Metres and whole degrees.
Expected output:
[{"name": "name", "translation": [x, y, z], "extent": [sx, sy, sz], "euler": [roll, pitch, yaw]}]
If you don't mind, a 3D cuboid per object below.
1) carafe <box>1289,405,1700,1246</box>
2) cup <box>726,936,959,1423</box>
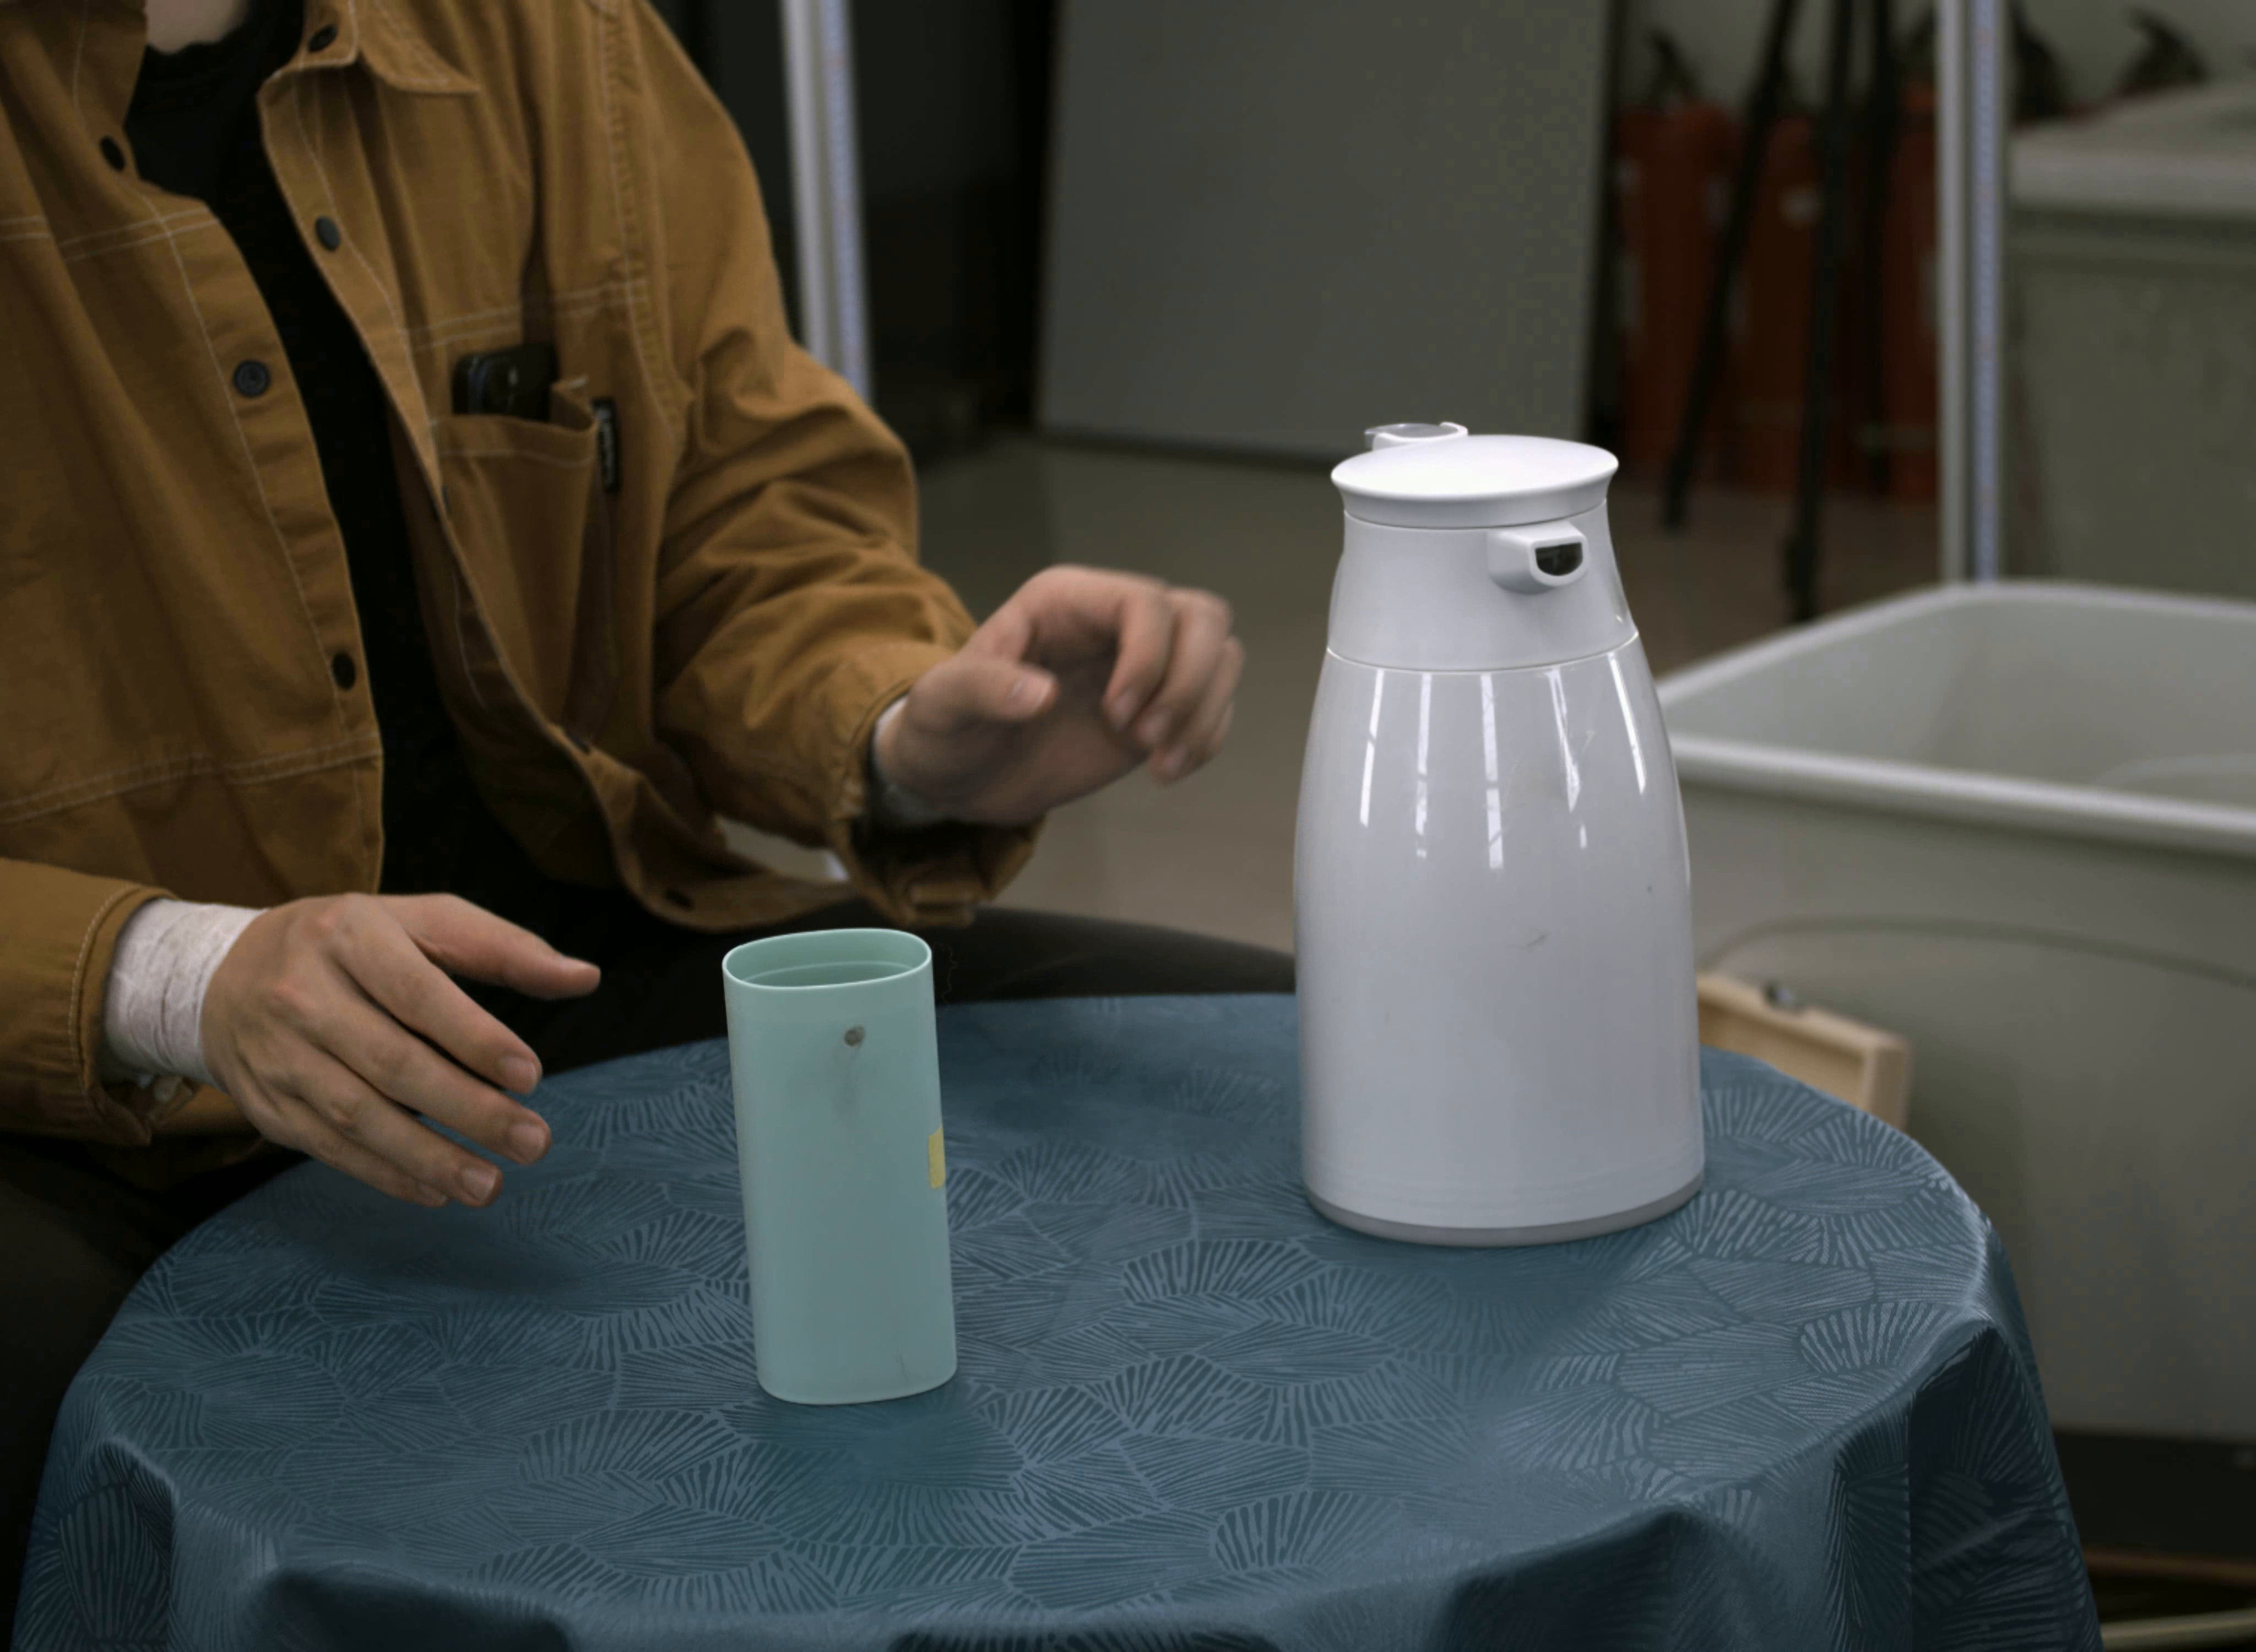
[{"name": "carafe", "translation": [0.106, -0.008, 1.744], "extent": [0.130, 0.251, 0.169], "euler": [-9, 14, -20]}, {"name": "cup", "translation": [-0.086, 0.105, 1.609], "extent": [0.066, 0.134, 0.067], "euler": [-4, 13, 0]}]
